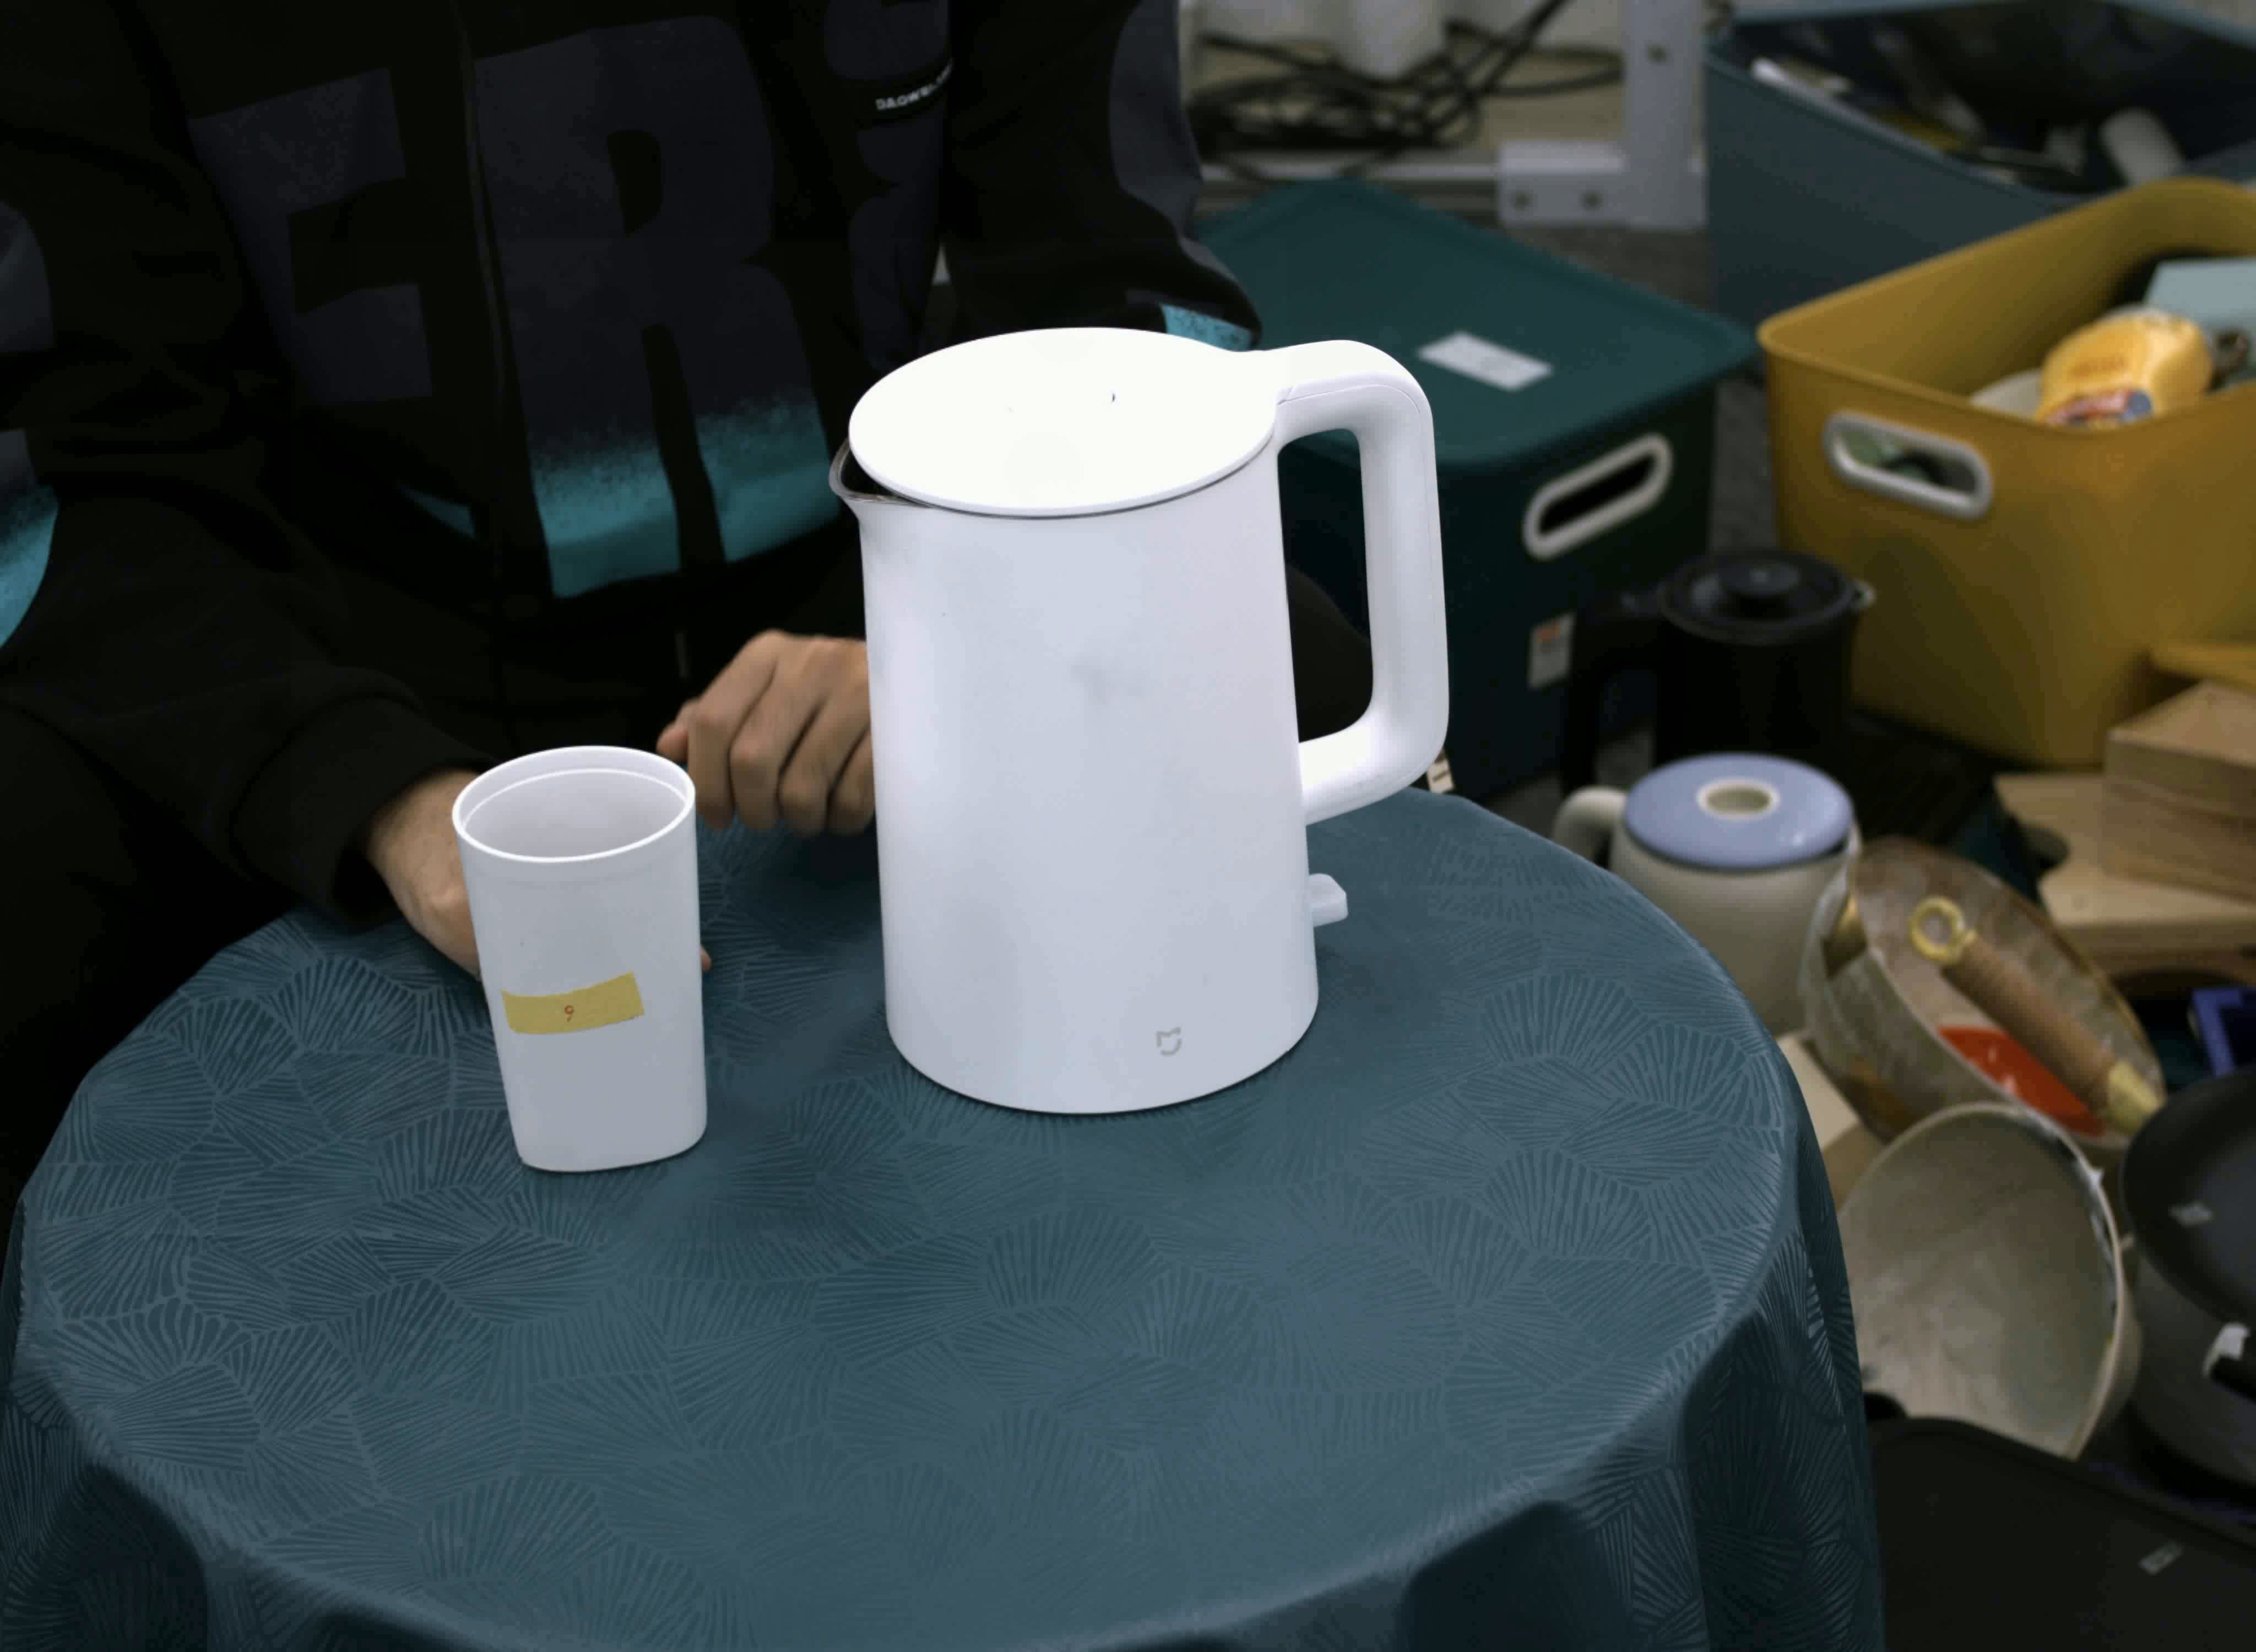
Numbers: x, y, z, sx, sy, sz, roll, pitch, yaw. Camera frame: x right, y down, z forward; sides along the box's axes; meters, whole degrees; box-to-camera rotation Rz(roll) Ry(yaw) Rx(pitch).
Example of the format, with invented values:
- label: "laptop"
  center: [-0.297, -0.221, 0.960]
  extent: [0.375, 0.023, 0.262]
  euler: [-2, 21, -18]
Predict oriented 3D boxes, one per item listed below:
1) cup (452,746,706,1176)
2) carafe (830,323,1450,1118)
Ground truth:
- label: "cup"
  center: [-0.180, 0.047, 1.887]
  extent: [0.081, 0.124, 0.083]
  euler: [-2, 26, 2]
- label: "carafe"
  center: [0.009, -0.042, 1.927]
  extent: [0.214, 0.237, 0.153]
  euler: [-13, 29, -18]
